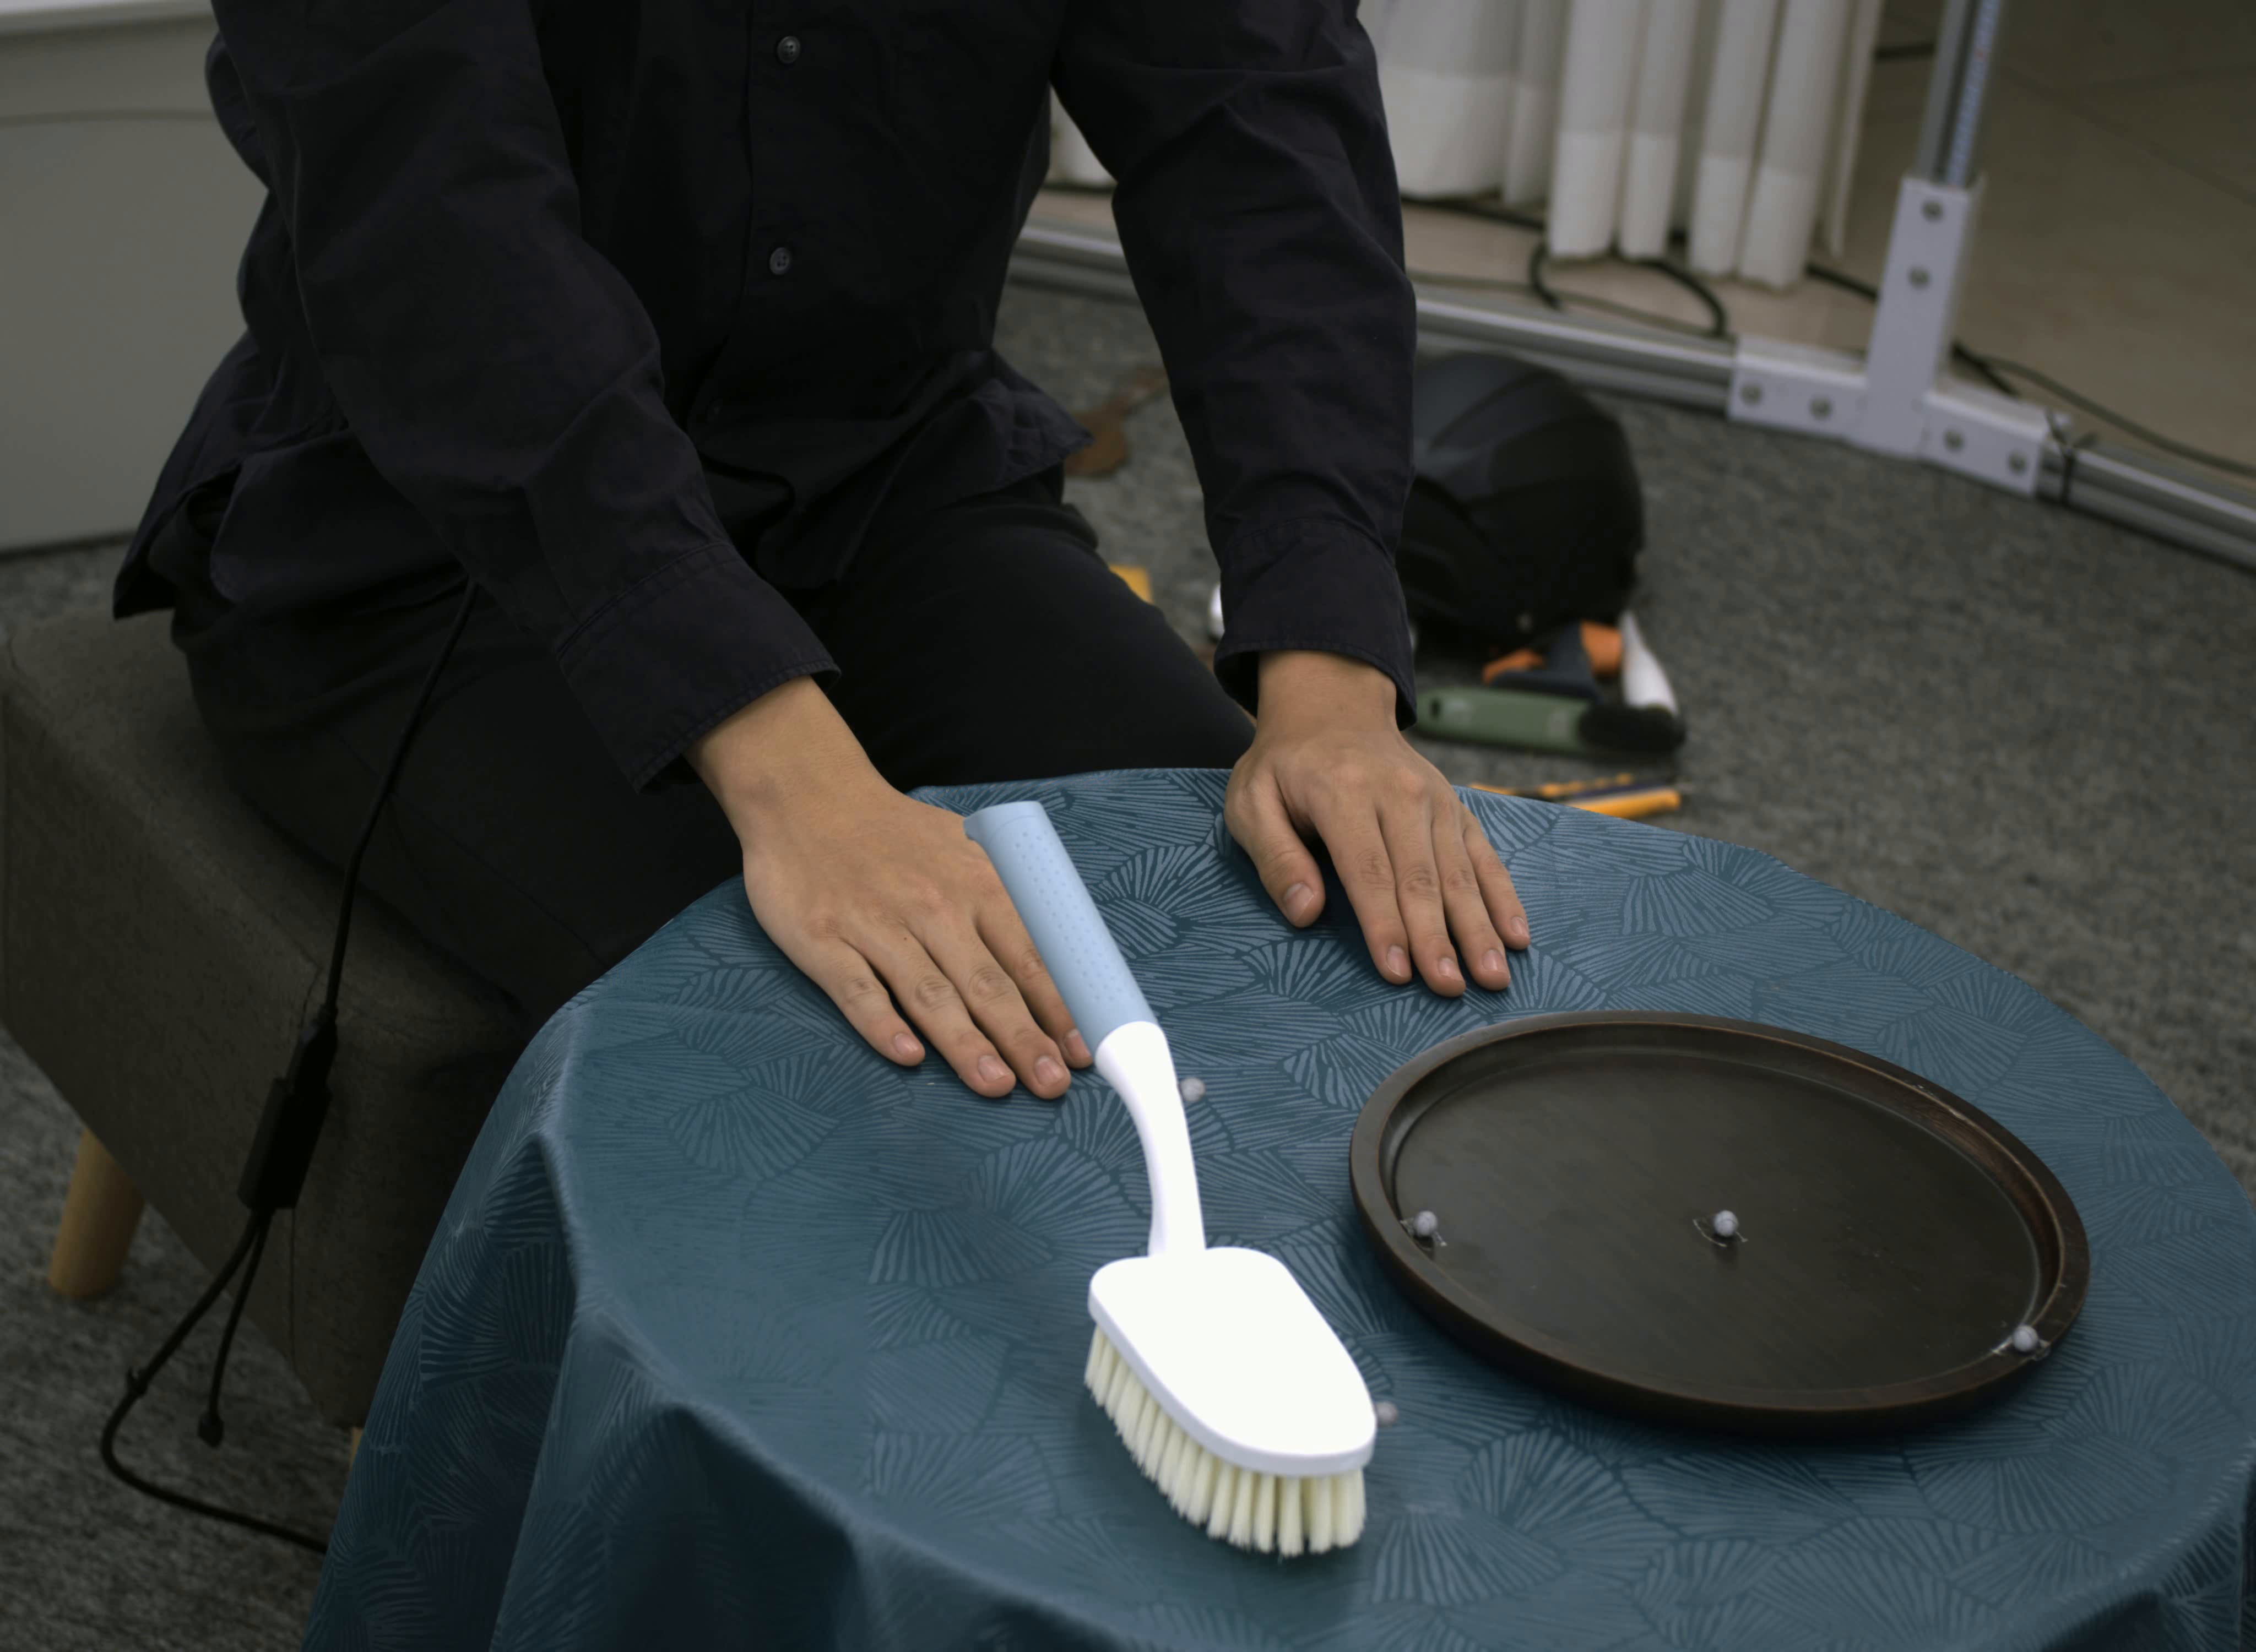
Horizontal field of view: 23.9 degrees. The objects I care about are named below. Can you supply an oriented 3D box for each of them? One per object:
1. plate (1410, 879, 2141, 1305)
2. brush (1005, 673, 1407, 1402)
[{"bbox_3d":[0.221,0.091,1.832,0.254,0.029,0.256,4,29,-2],"label":"plate"},{"bbox_3d":[0.018,0.077,1.753,0.082,0.084,0.328,33,20,-41],"label":"brush"}]
